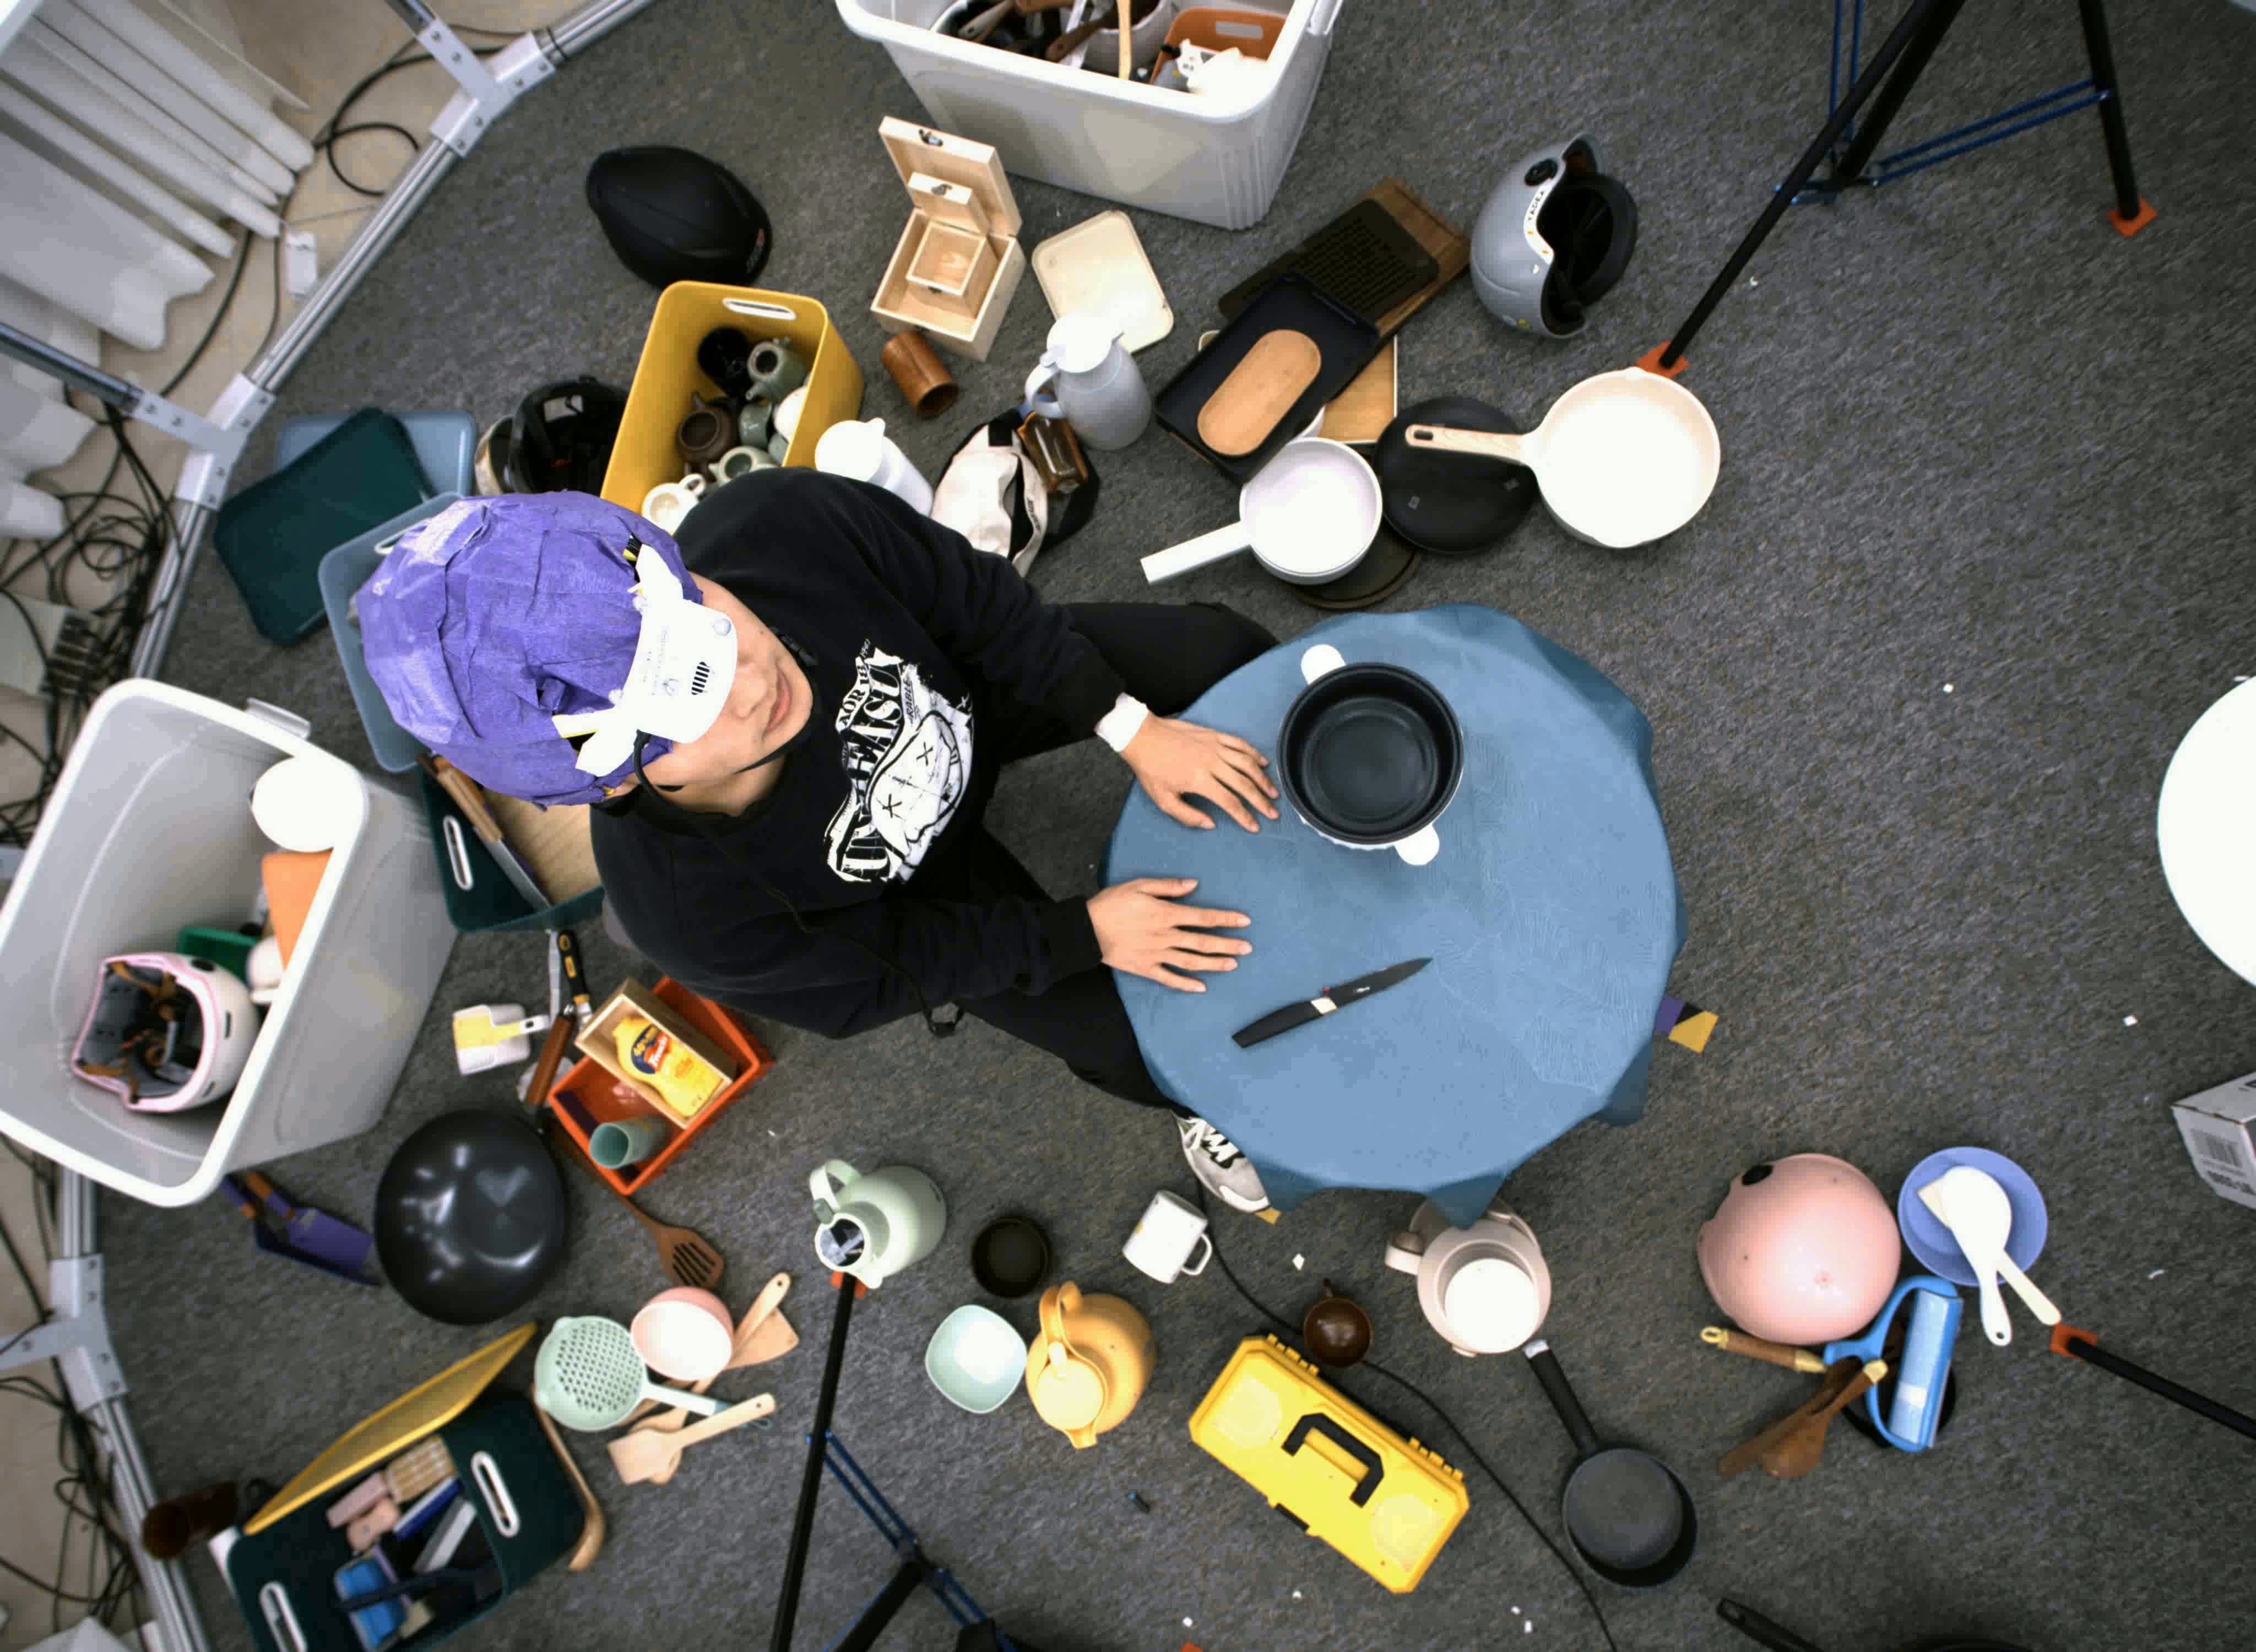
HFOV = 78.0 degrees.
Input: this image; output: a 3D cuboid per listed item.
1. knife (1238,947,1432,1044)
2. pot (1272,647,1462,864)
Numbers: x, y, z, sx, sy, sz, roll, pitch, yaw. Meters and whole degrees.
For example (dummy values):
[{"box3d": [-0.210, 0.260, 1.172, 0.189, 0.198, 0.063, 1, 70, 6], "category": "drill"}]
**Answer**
[{"box3d": [0.218, 0.178, 1.462, 0.227, 0.017, 0.026, -24, 68, 8], "category": "knife"}, {"box3d": [0.249, -0.070, 1.402, 0.192, 0.142, 0.239, -29, 83, 11], "category": "pot"}]
